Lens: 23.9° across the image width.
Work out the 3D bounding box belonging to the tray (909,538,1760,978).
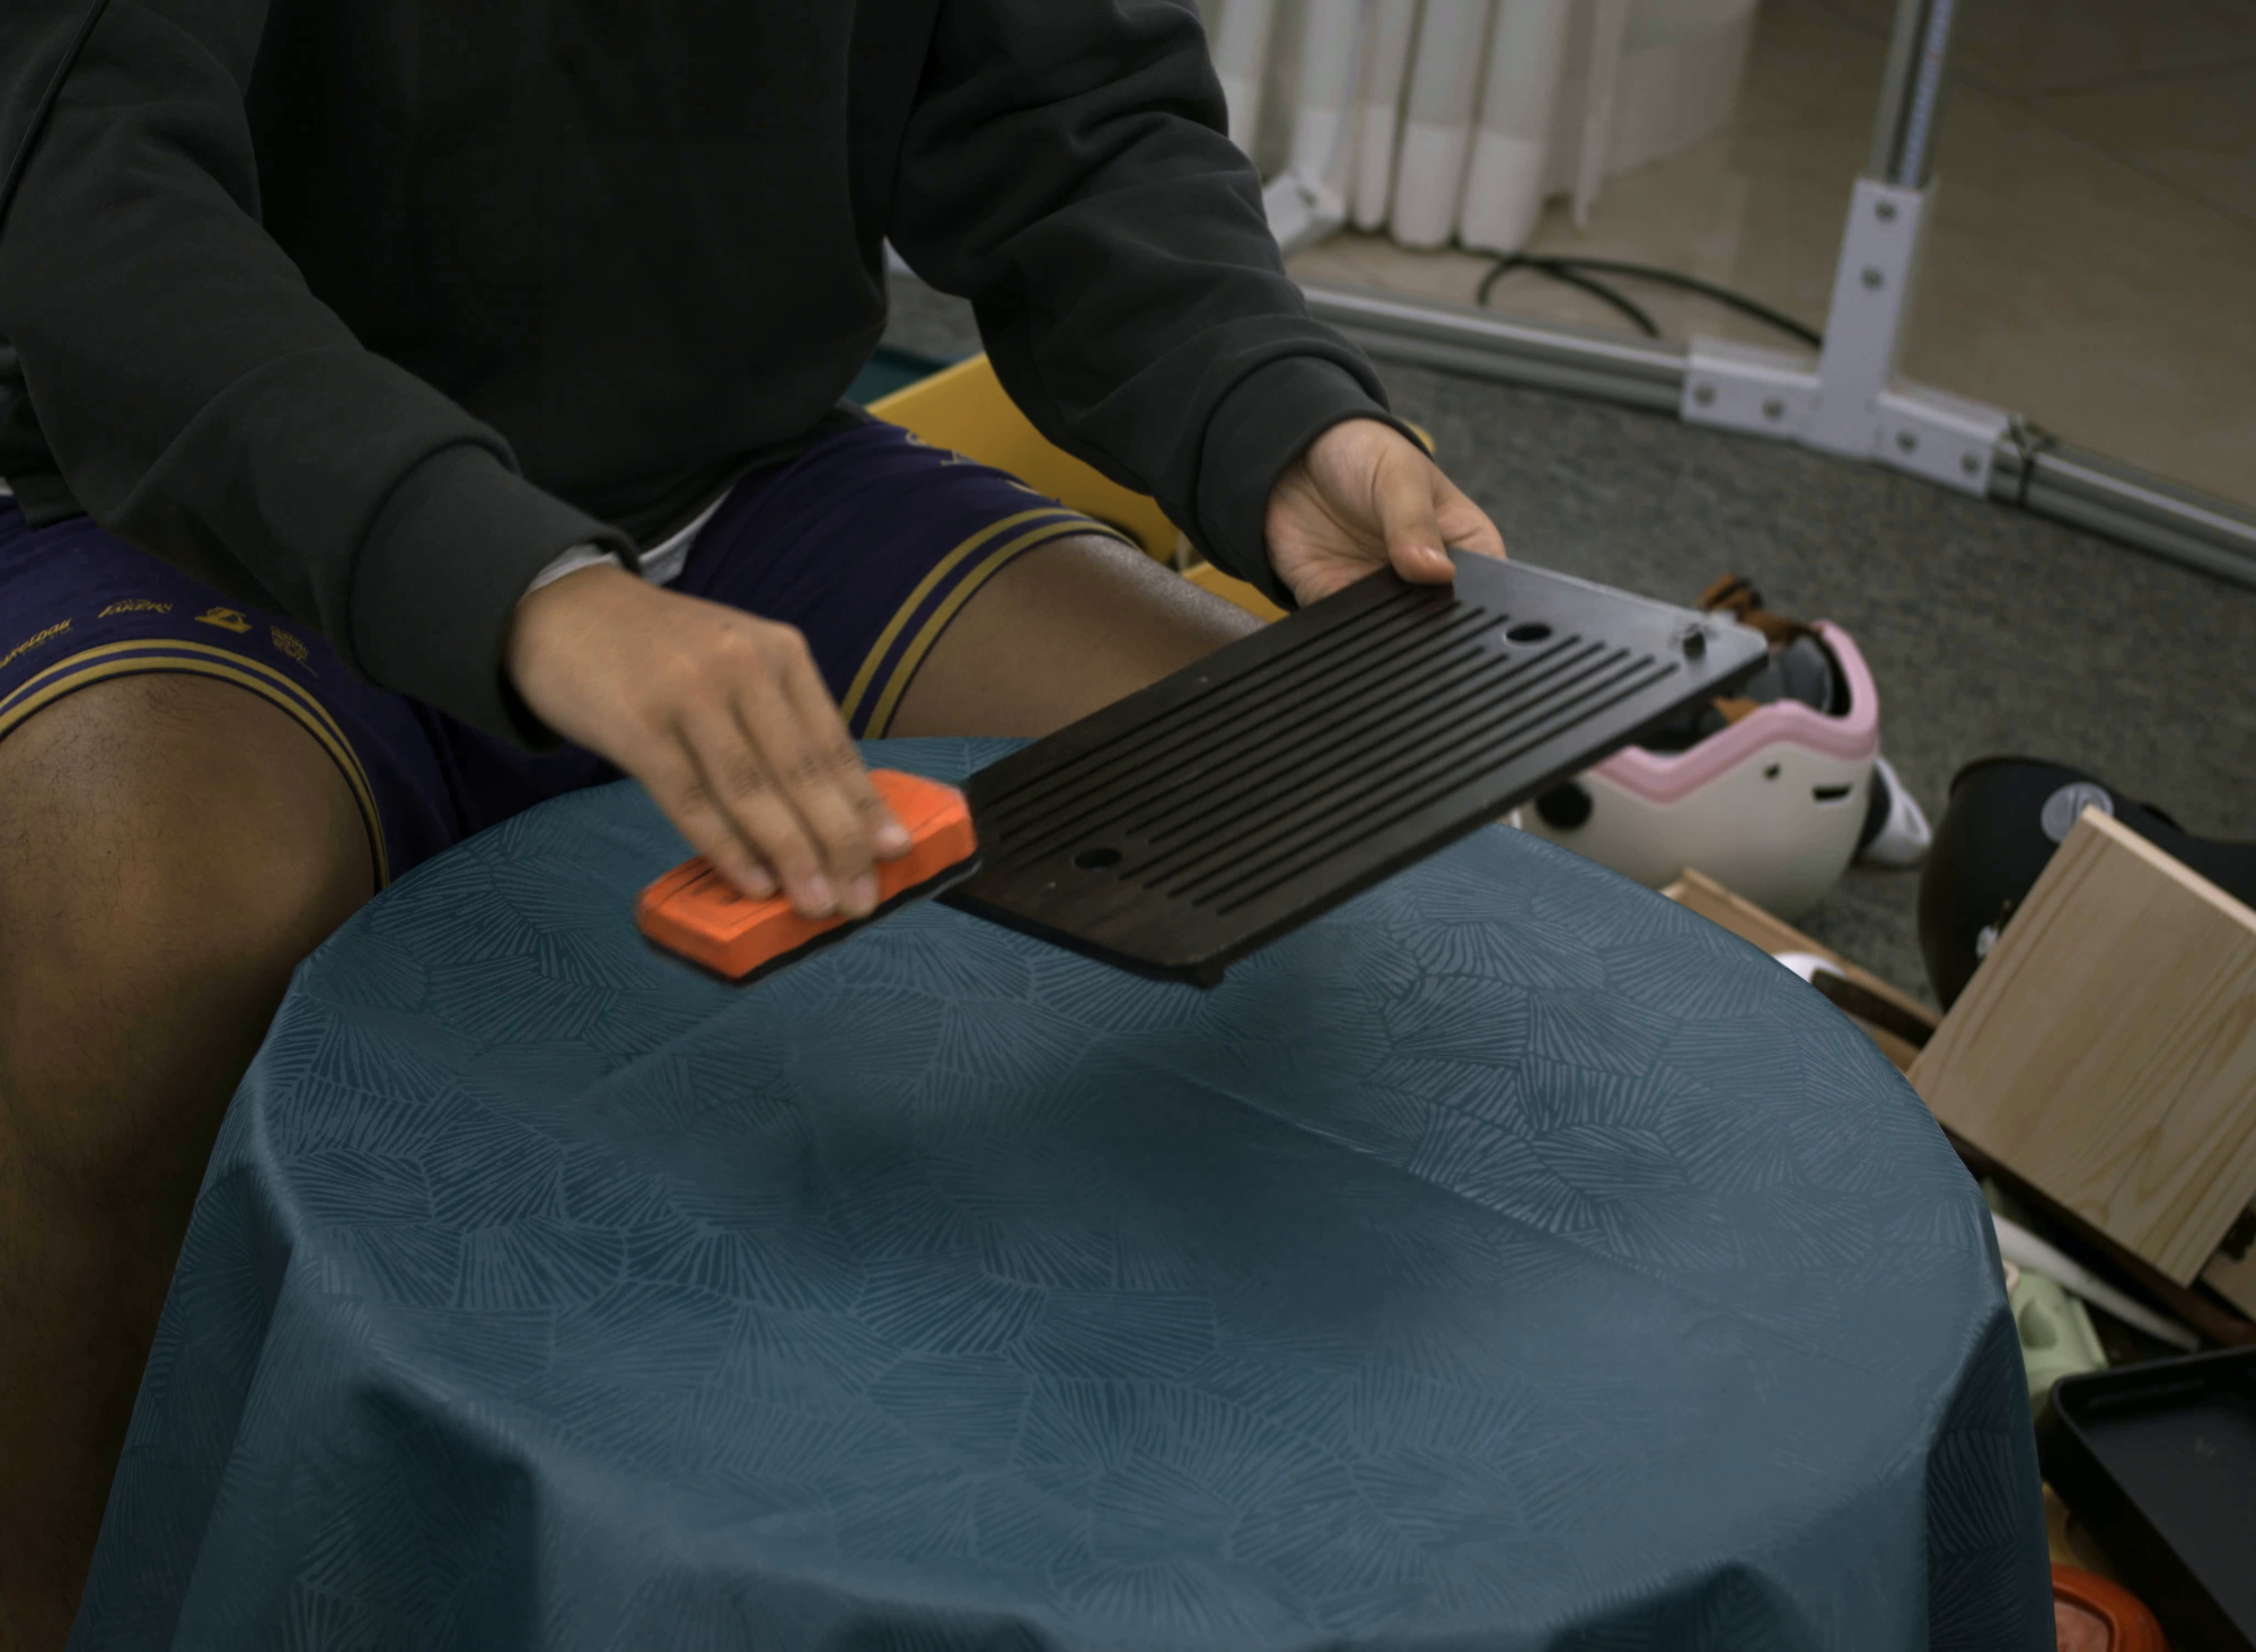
[{"bbox_3d":[0.063,-0.026,1.839,0.305,0.018,0.171,-28,32,-36],"label":"tray"}]

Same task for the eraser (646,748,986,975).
[{"bbox_3d":[-0.103,0.011,1.759,0.108,0.023,0.059,-30,33,-31],"label":"eraser"}]
